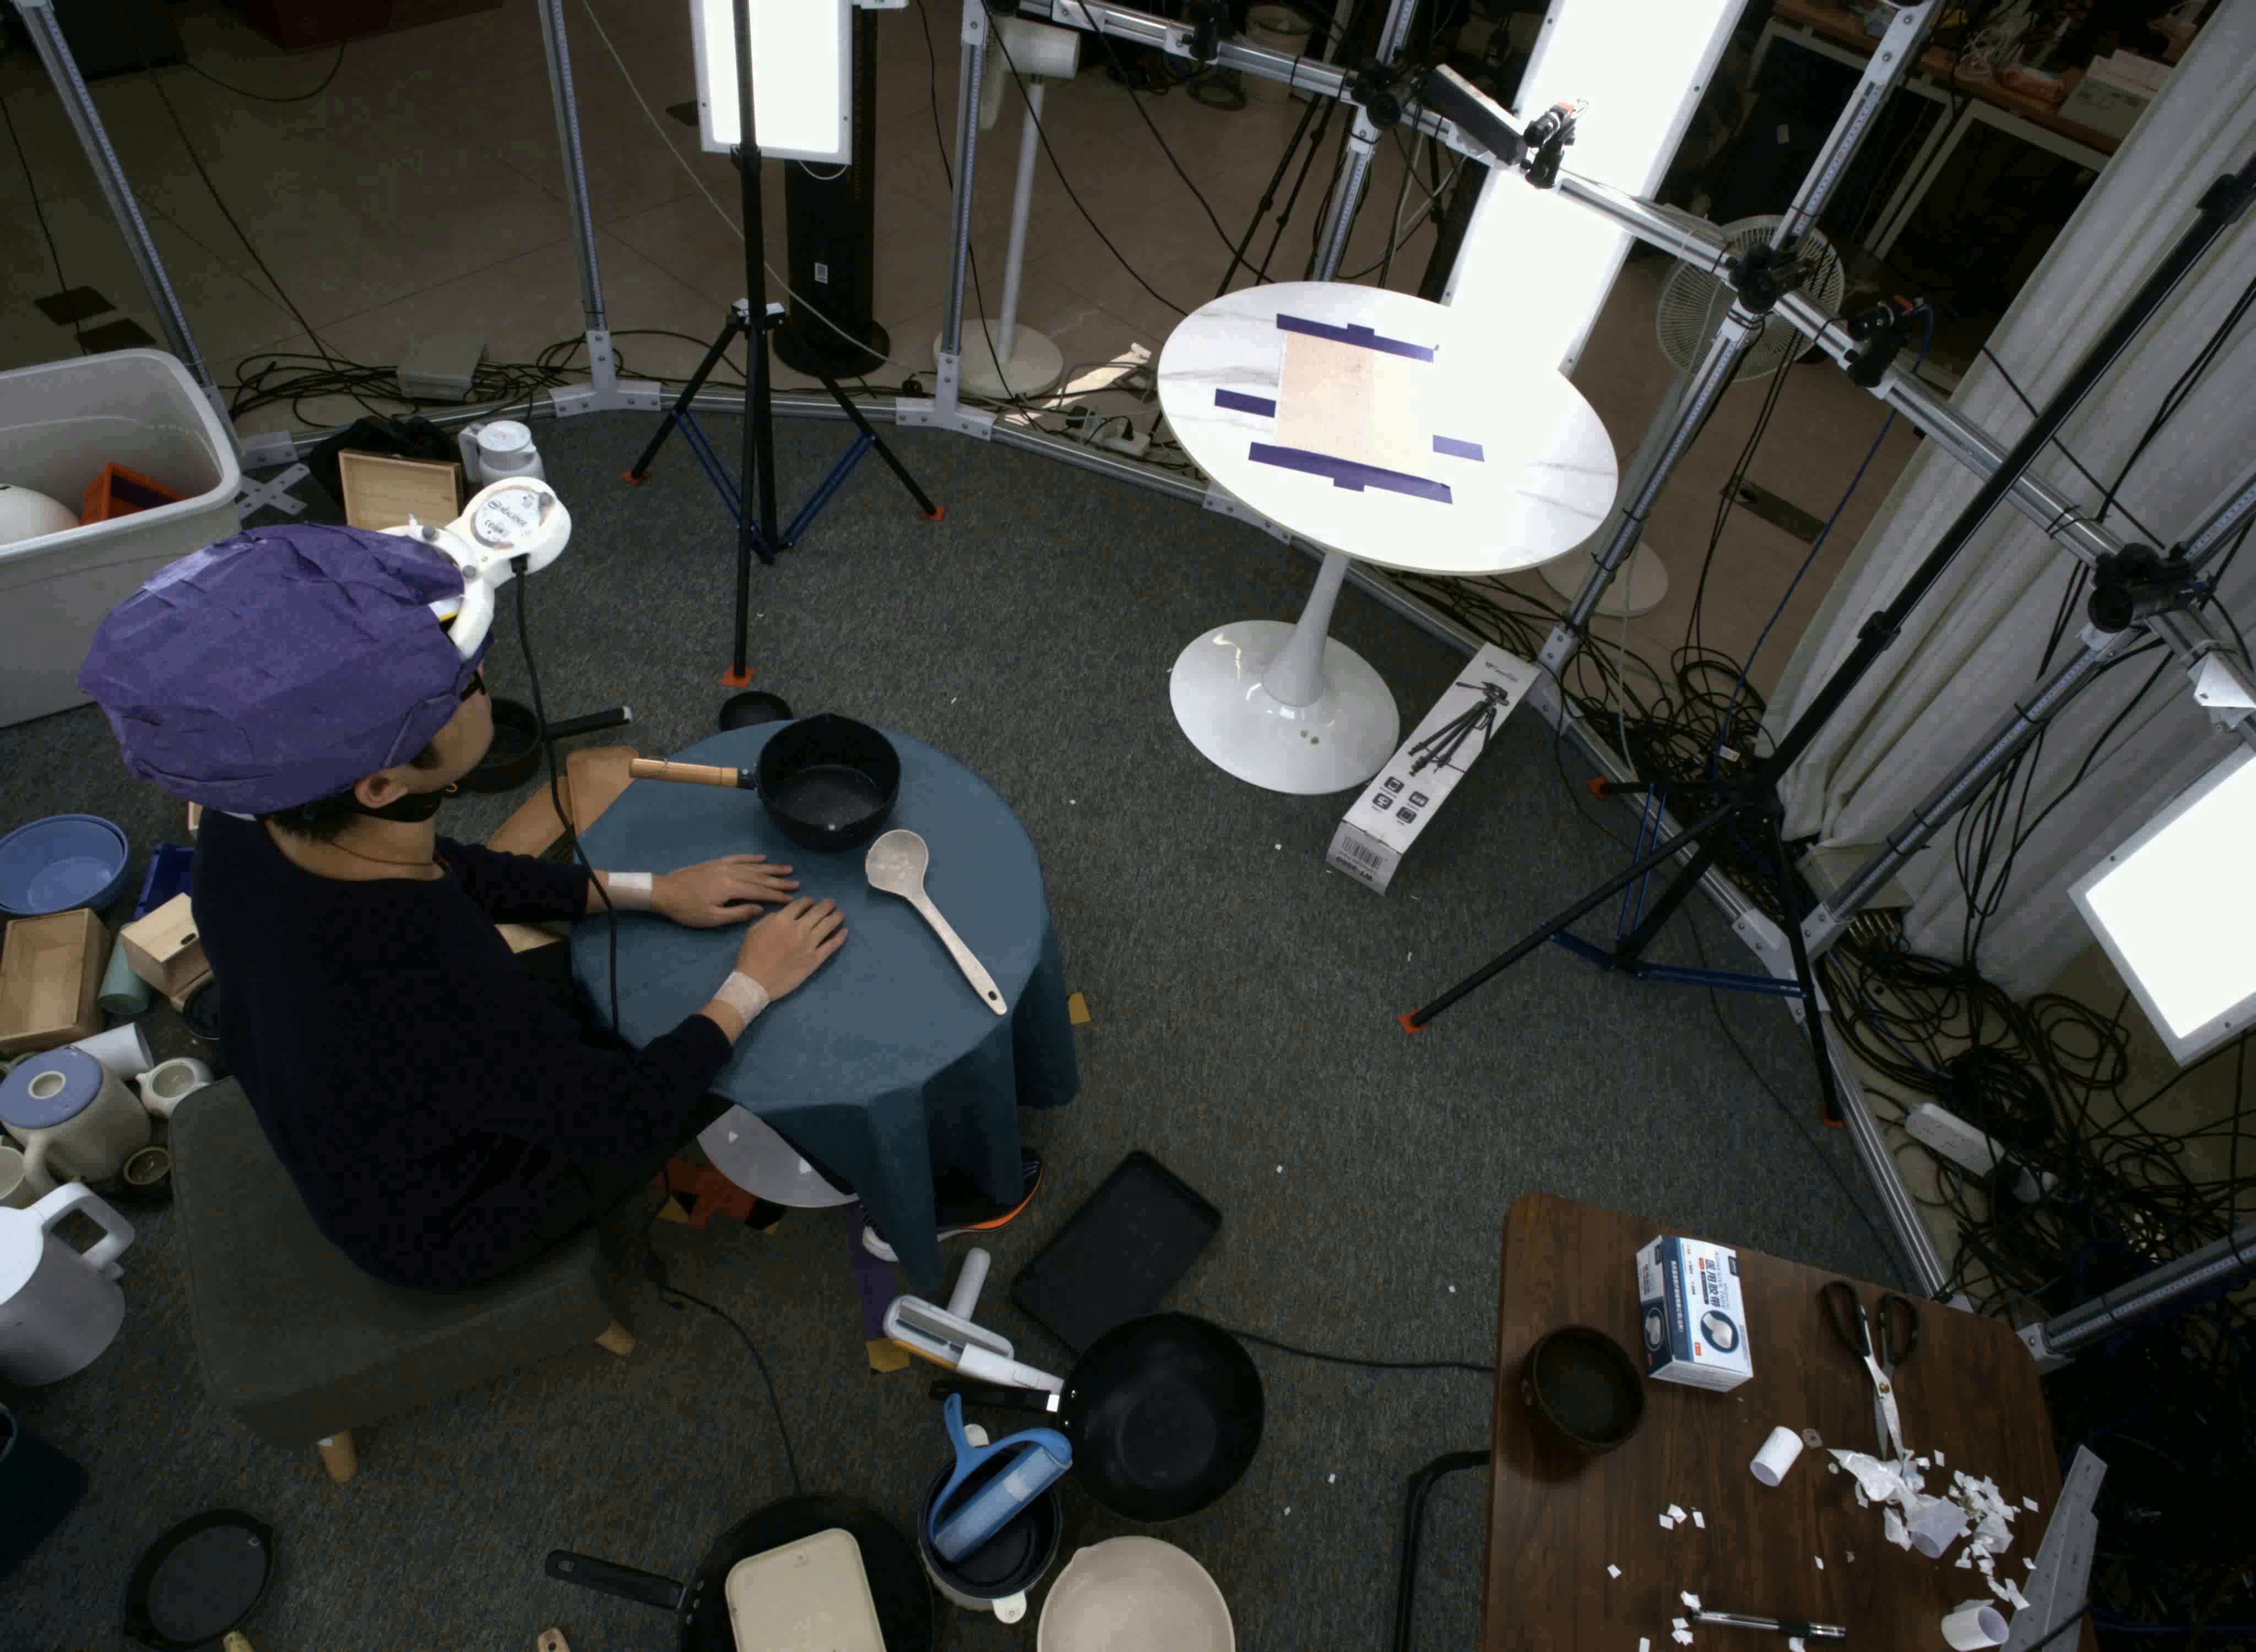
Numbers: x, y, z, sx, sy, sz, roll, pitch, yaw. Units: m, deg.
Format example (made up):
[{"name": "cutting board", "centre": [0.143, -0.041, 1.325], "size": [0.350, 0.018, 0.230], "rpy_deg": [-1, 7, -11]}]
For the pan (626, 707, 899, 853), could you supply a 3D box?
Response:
[{"name": "pan", "centre": [-0.469, -0.054, 1.672], "size": [0.344, 0.110, 0.203], "rpy_deg": [-3, 55, -18]}]

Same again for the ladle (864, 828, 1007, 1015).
[{"name": "ladle", "centre": [-0.232, 0.116, 1.633], "size": [0.090, 0.071, 0.268], "rpy_deg": [-28, 64, -34]}]
